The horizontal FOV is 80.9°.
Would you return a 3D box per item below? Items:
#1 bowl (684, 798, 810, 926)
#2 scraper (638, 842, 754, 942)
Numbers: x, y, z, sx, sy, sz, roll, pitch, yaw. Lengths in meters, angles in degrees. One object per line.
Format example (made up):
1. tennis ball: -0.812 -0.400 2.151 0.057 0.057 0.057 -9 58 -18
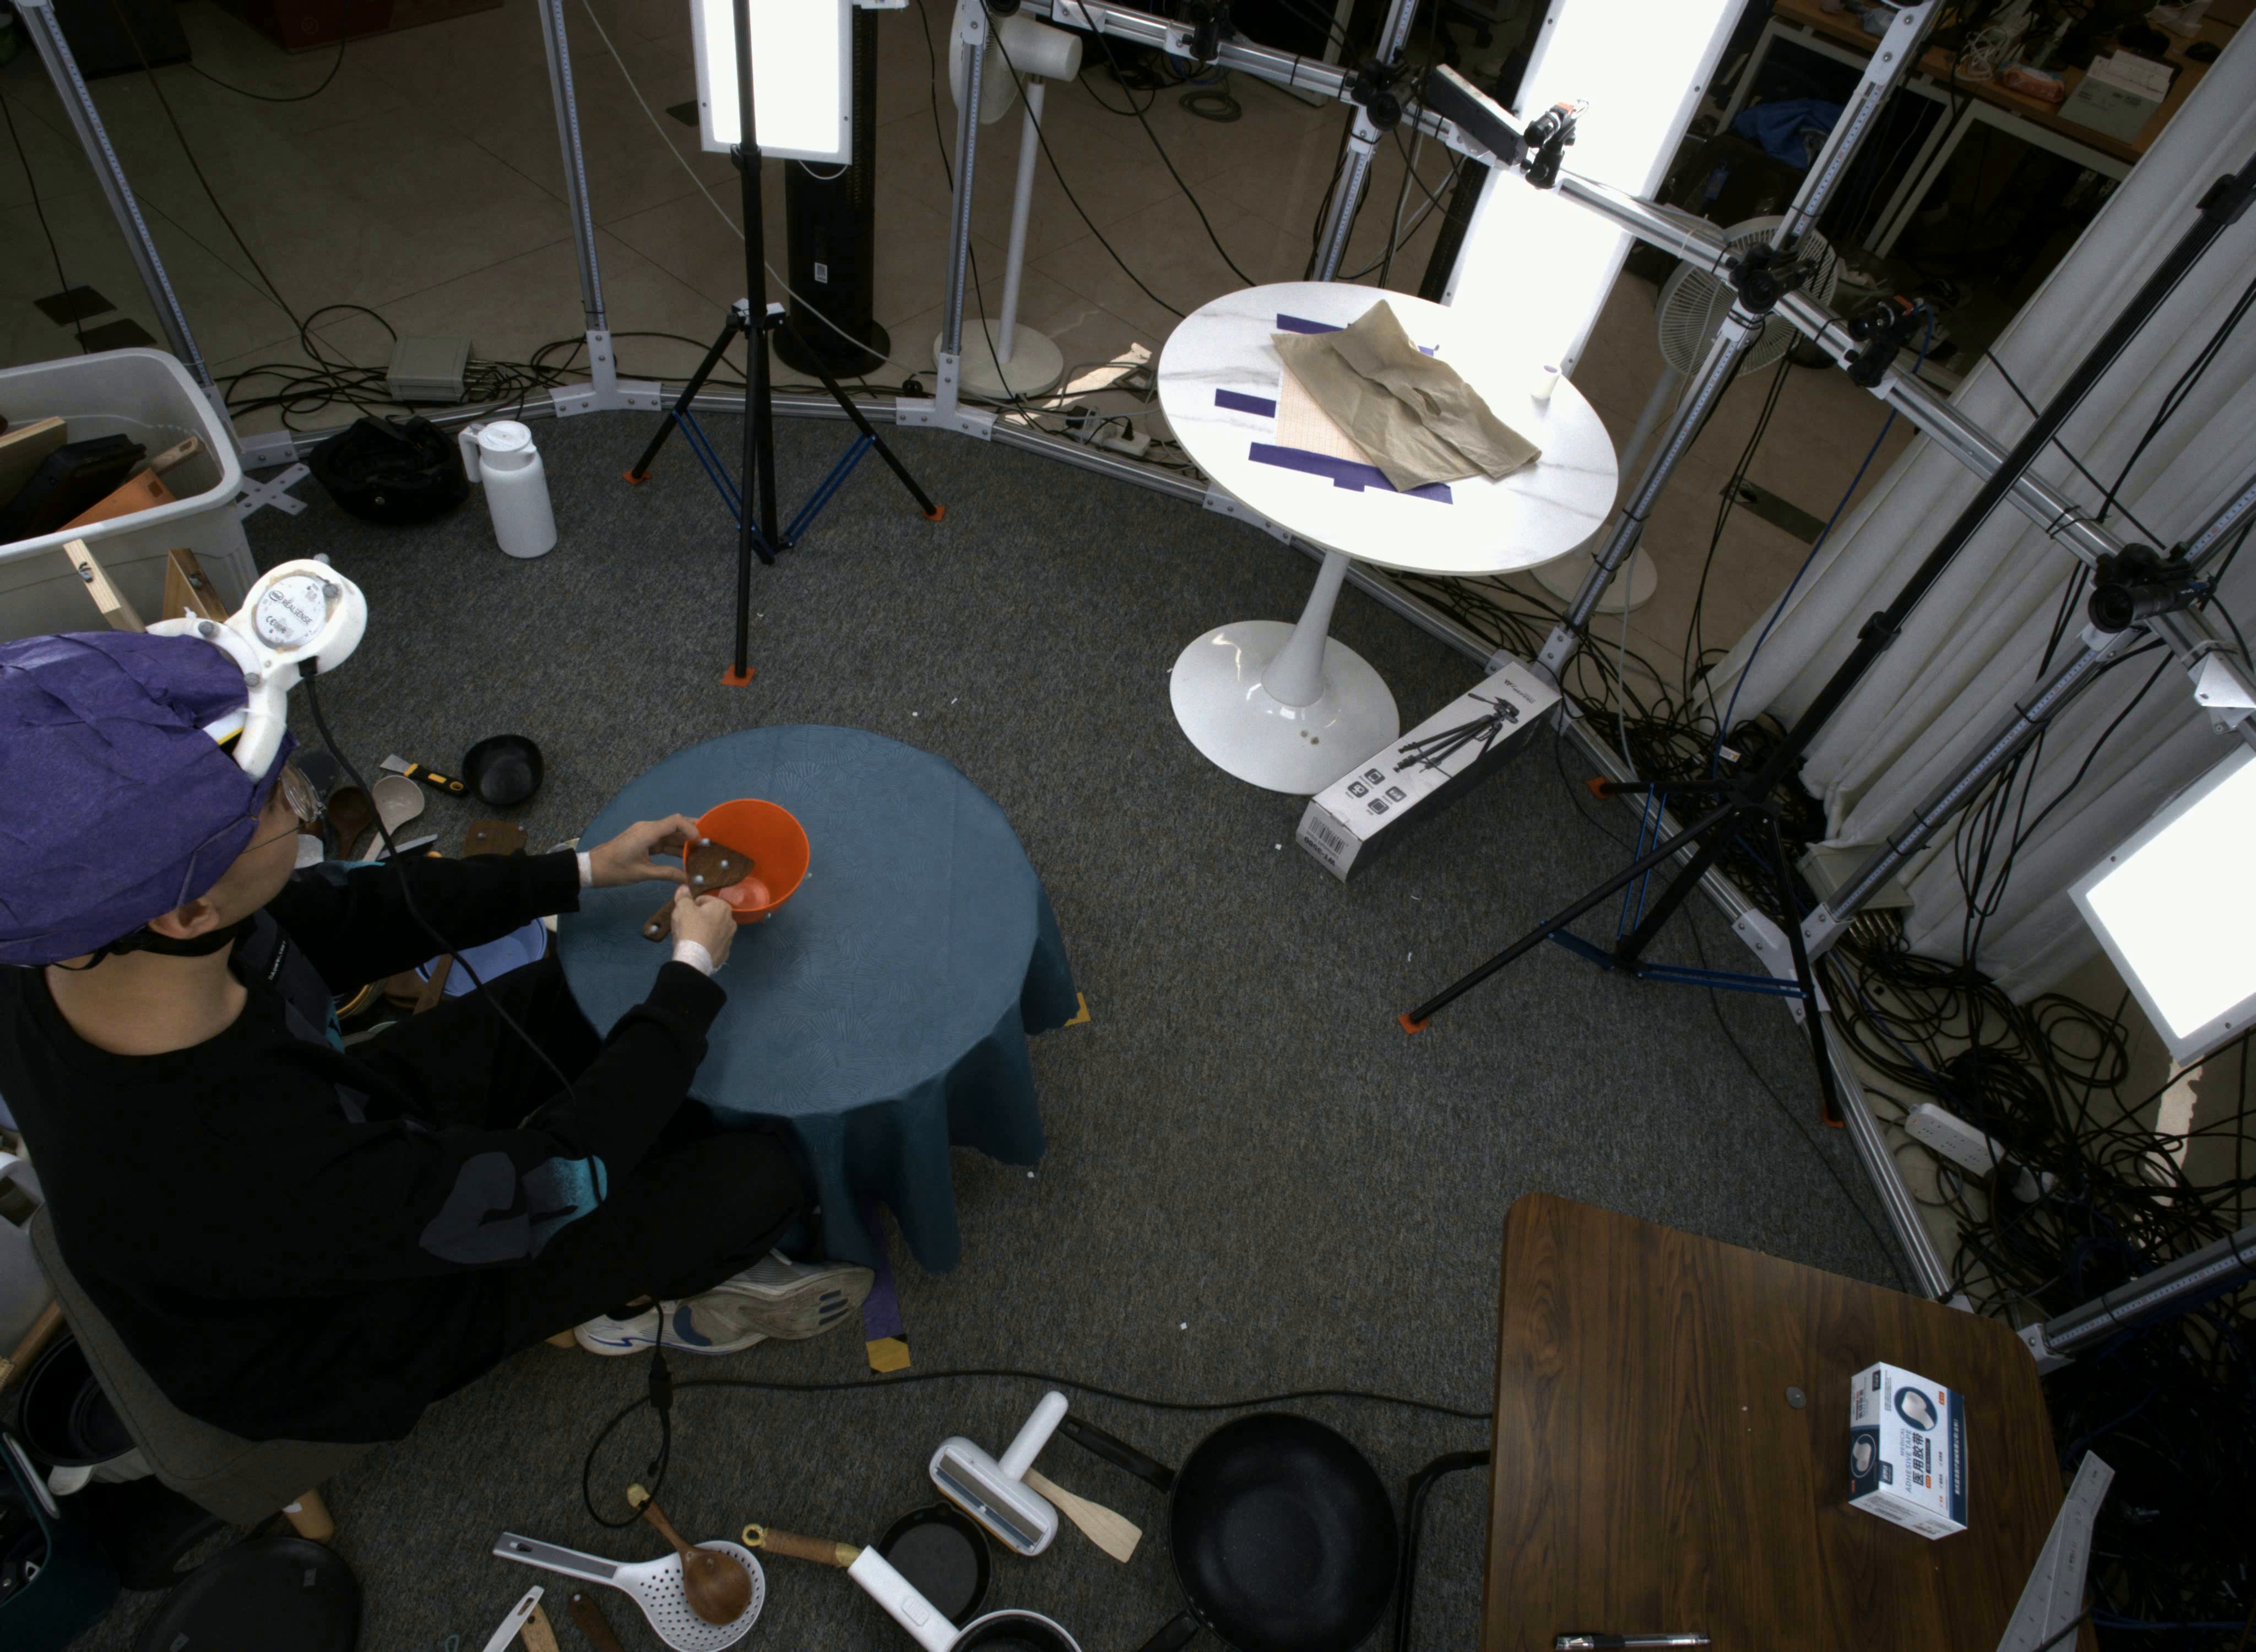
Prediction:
1. bowl: -0.466 0.055 1.585 0.148 0.106 0.146 9 56 -12
2. scraper: -0.505 0.076 1.487 0.075 0.011 0.209 27 27 -2
